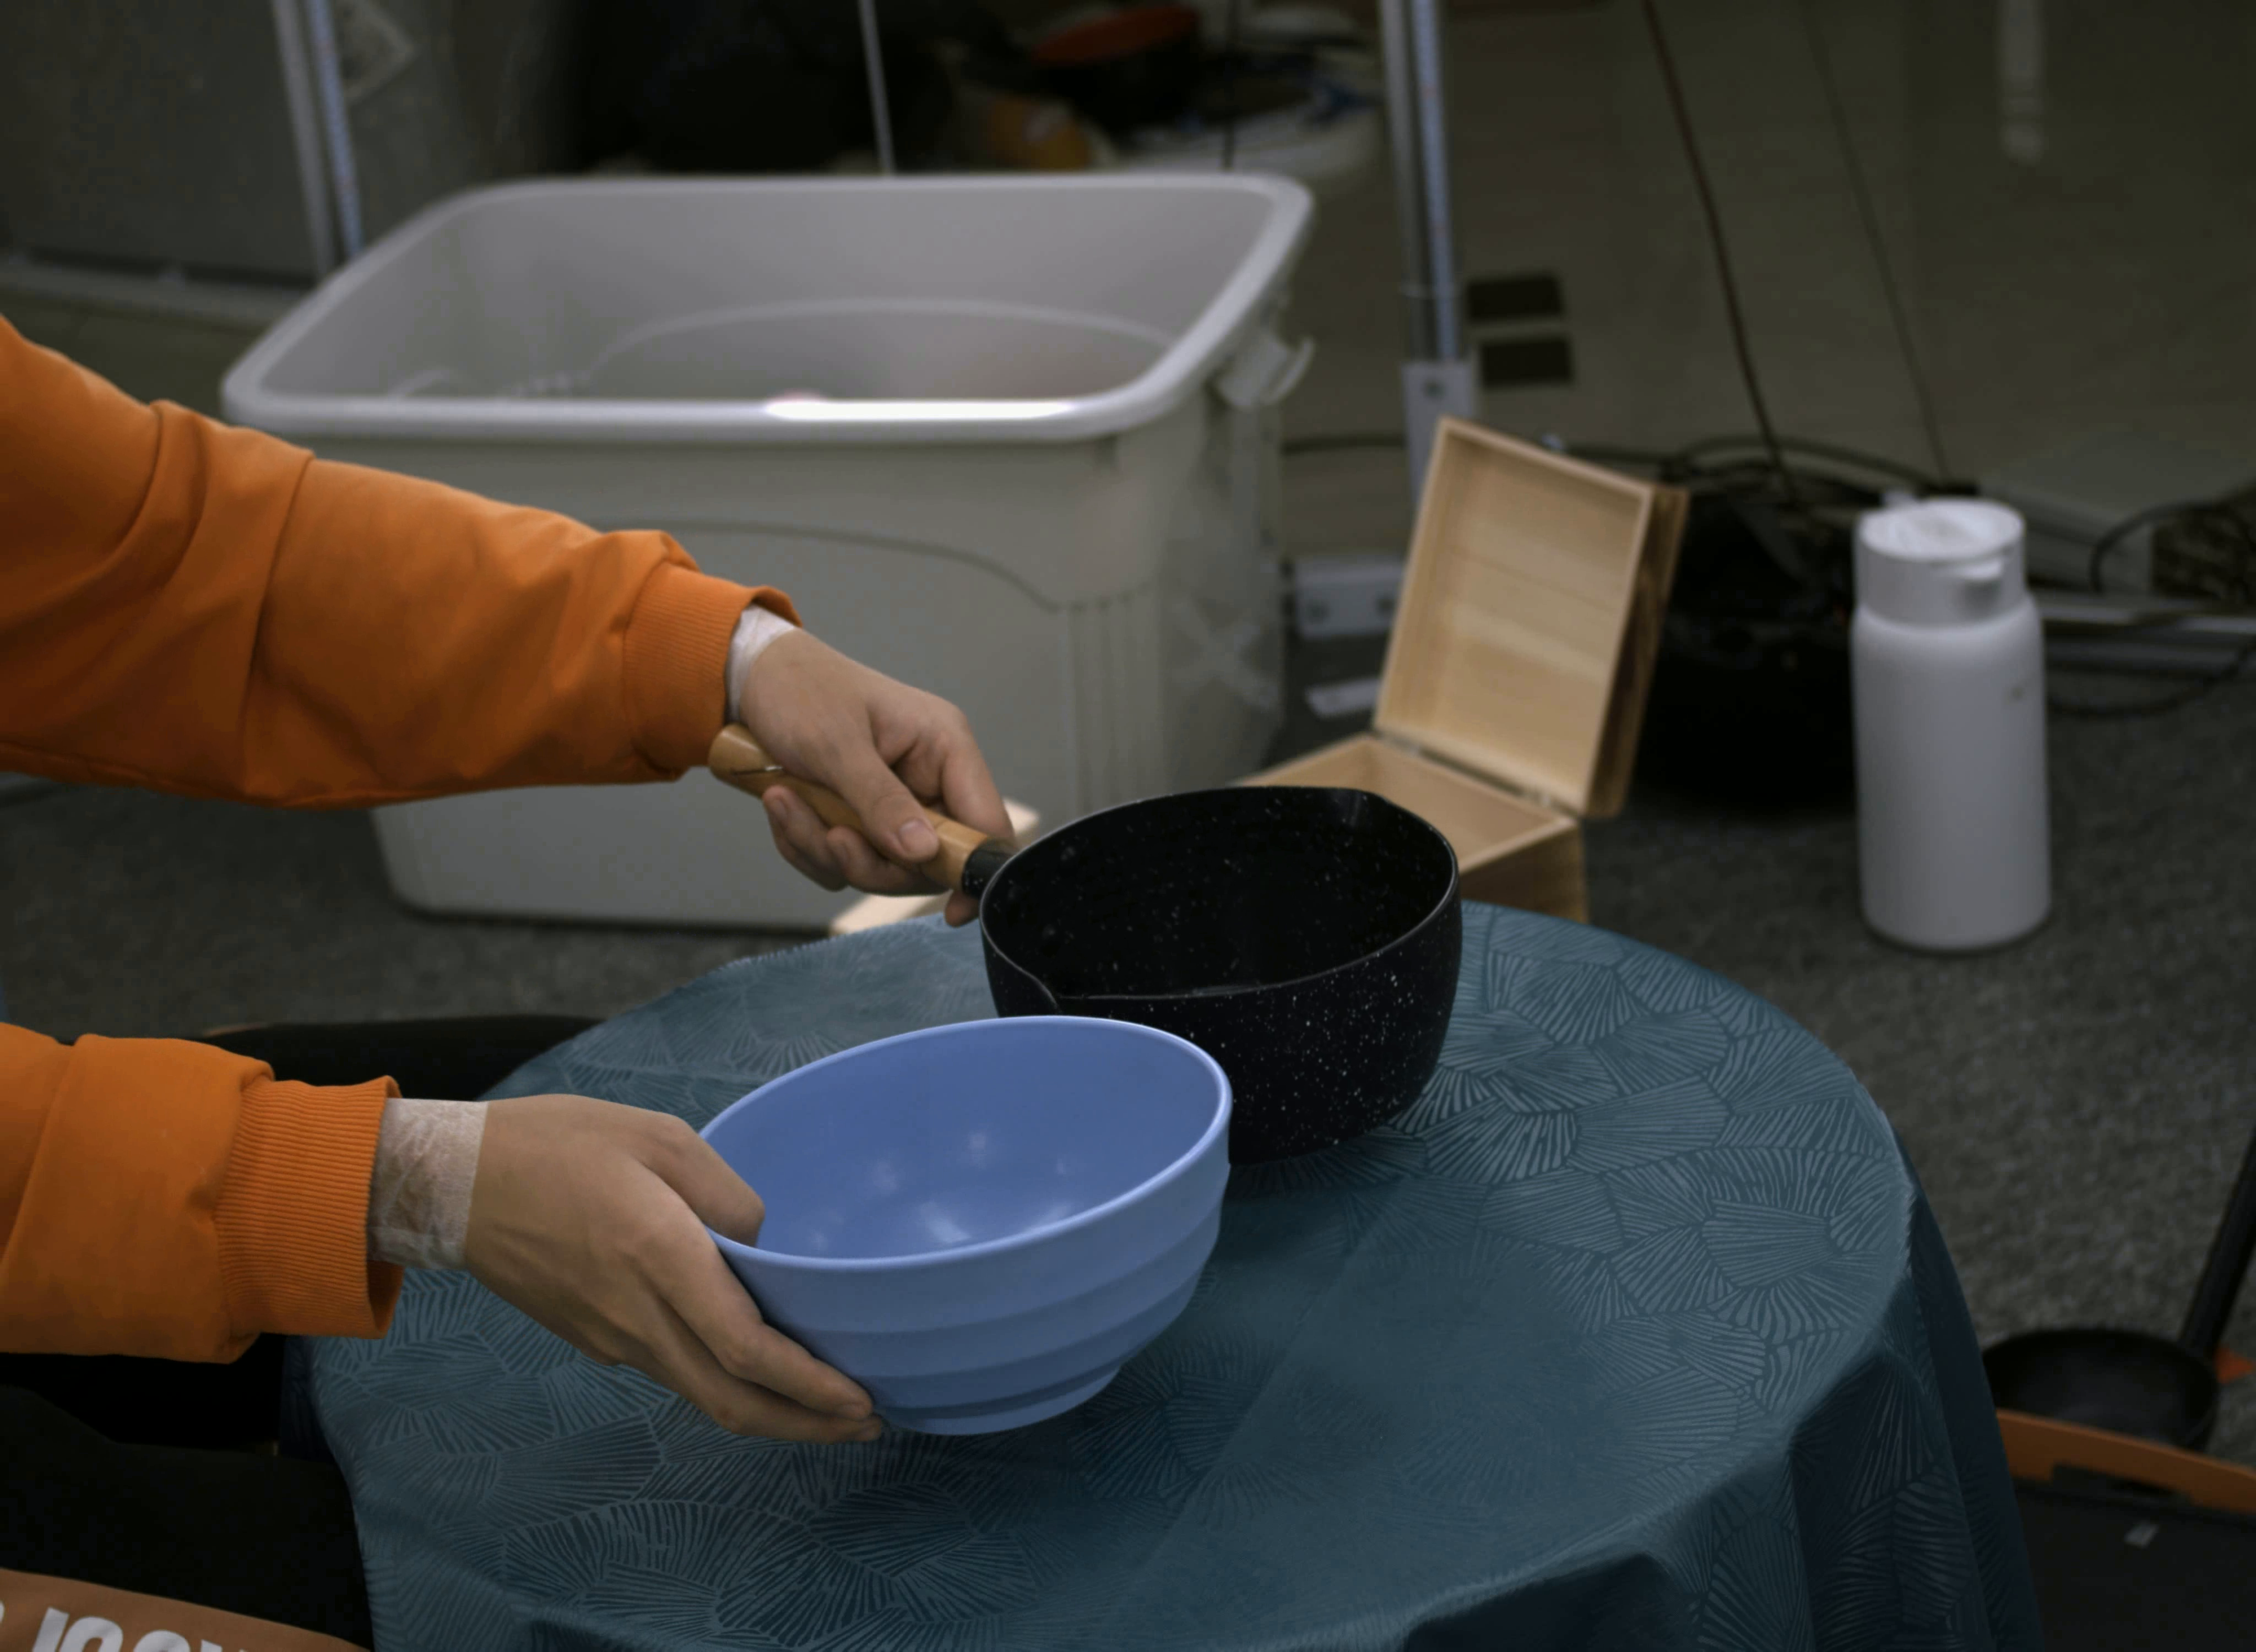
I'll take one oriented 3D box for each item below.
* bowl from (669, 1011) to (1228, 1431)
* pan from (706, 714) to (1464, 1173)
[{"bbox_3d":[-0.055,0.148,1.976,0.196,0.097,0.194,-8,21,3],"label":"bowl"},{"bbox_3d":[-0.027,0.036,2.207,0.341,0.110,0.205,13,32,34],"label":"pan"}]
